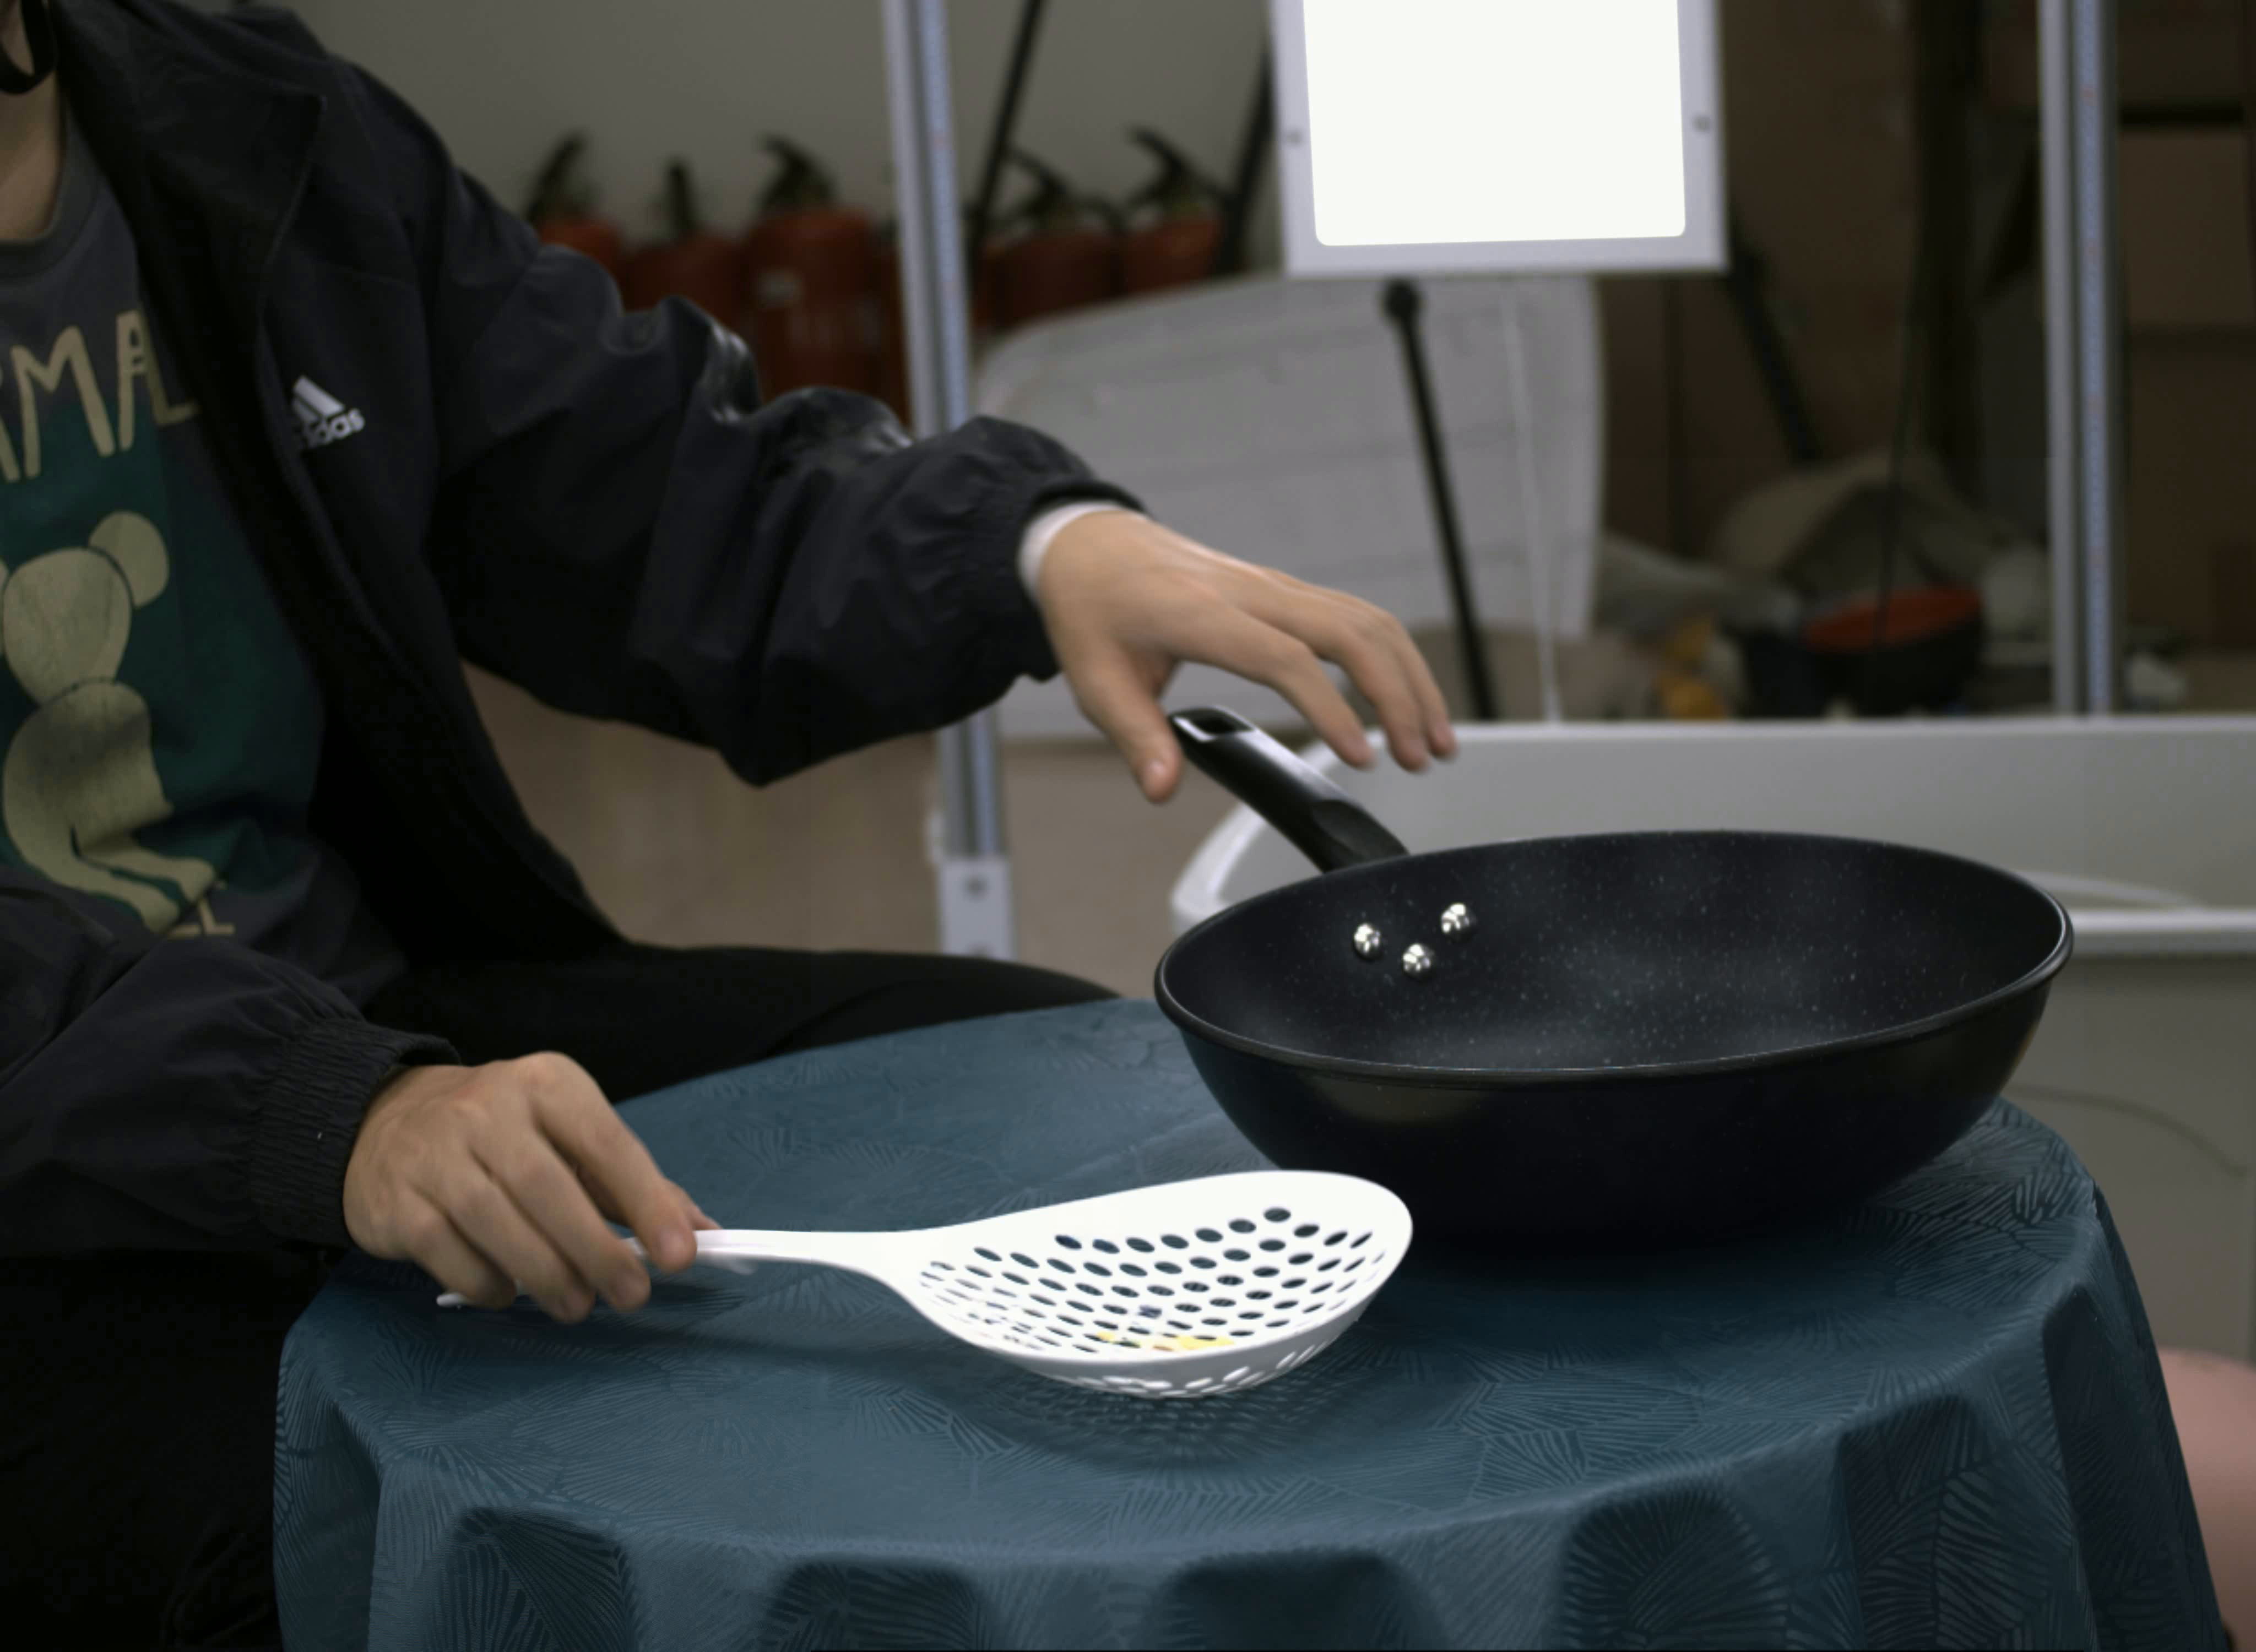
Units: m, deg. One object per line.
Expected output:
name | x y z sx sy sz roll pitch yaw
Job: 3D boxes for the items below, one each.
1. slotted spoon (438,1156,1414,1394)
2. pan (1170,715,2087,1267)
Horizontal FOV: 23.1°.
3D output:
slotted spoon | -0.073 0.146 1.755 0.354 0.050 0.134 2 23 29
pan | 0.133 0.056 1.916 0.304 0.112 0.484 -10 15 -23
